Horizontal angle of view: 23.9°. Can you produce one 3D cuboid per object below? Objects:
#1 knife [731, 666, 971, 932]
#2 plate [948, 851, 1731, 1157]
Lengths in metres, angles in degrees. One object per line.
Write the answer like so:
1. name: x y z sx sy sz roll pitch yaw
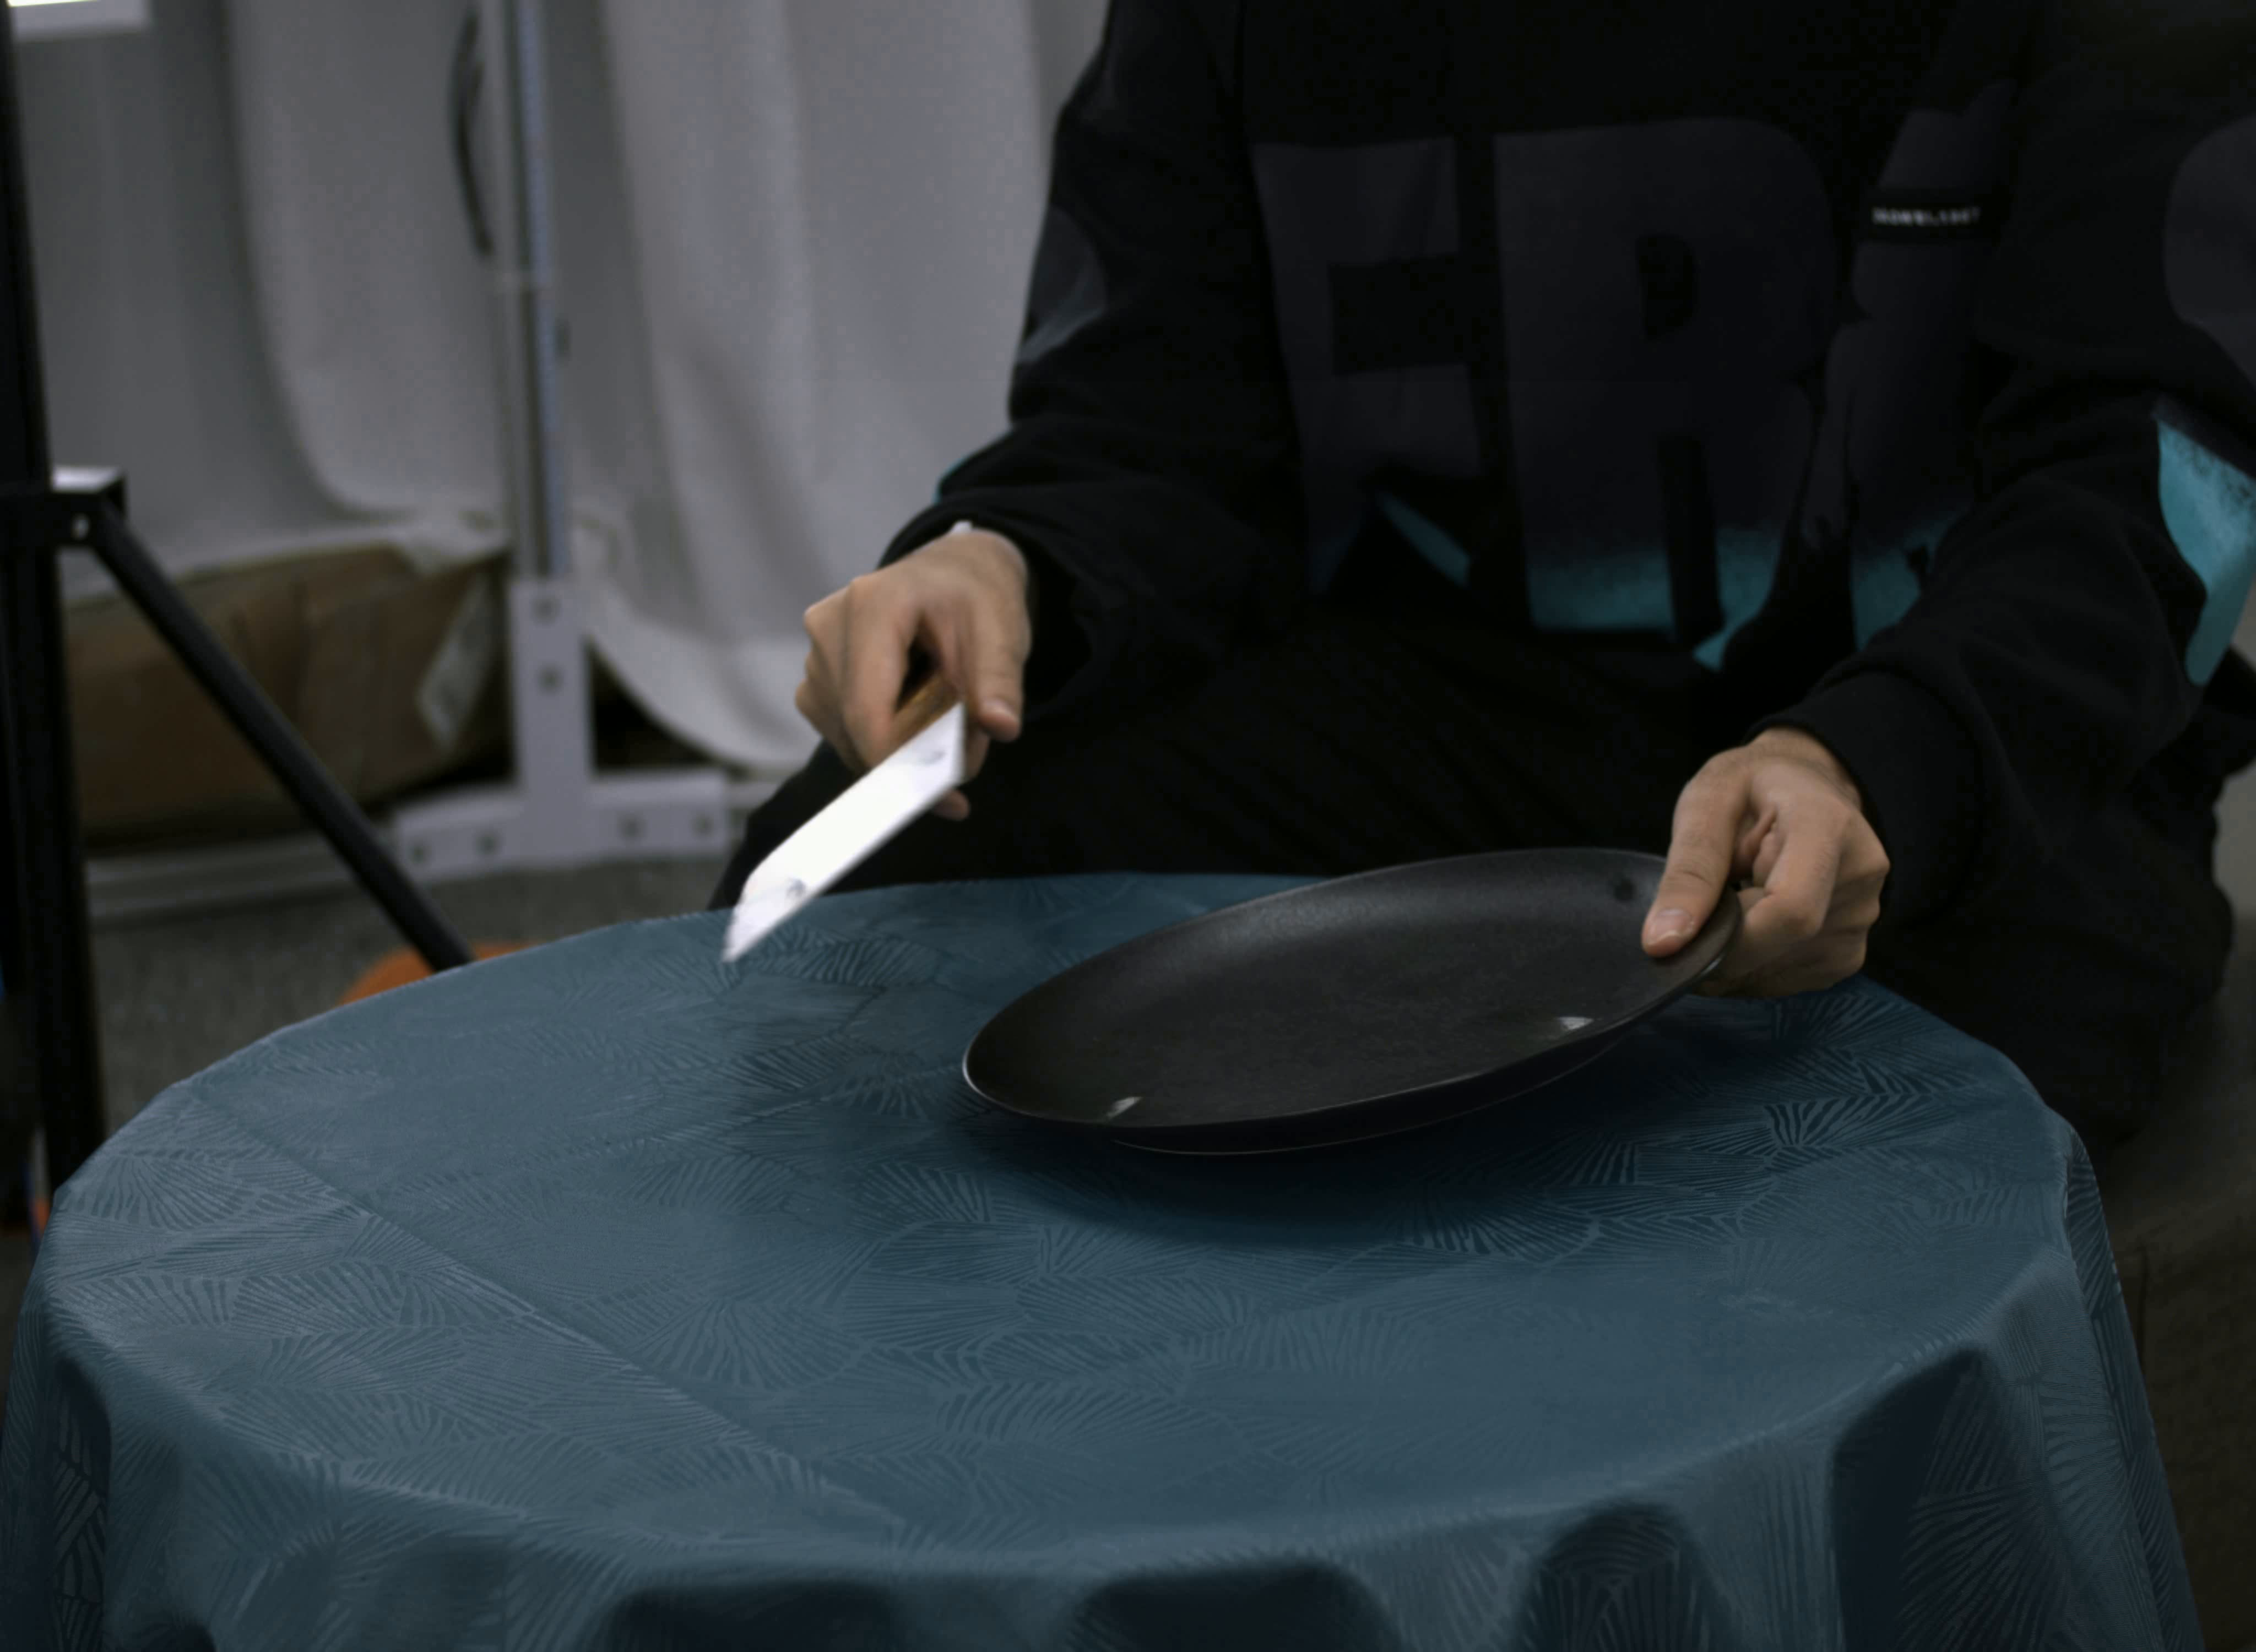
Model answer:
1. knife: -0.090 -0.008 1.708 0.093 0.021 0.306 -40 6 5
2. plate: 0.066 0.058 1.625 0.243 0.023 0.245 -13 14 2
